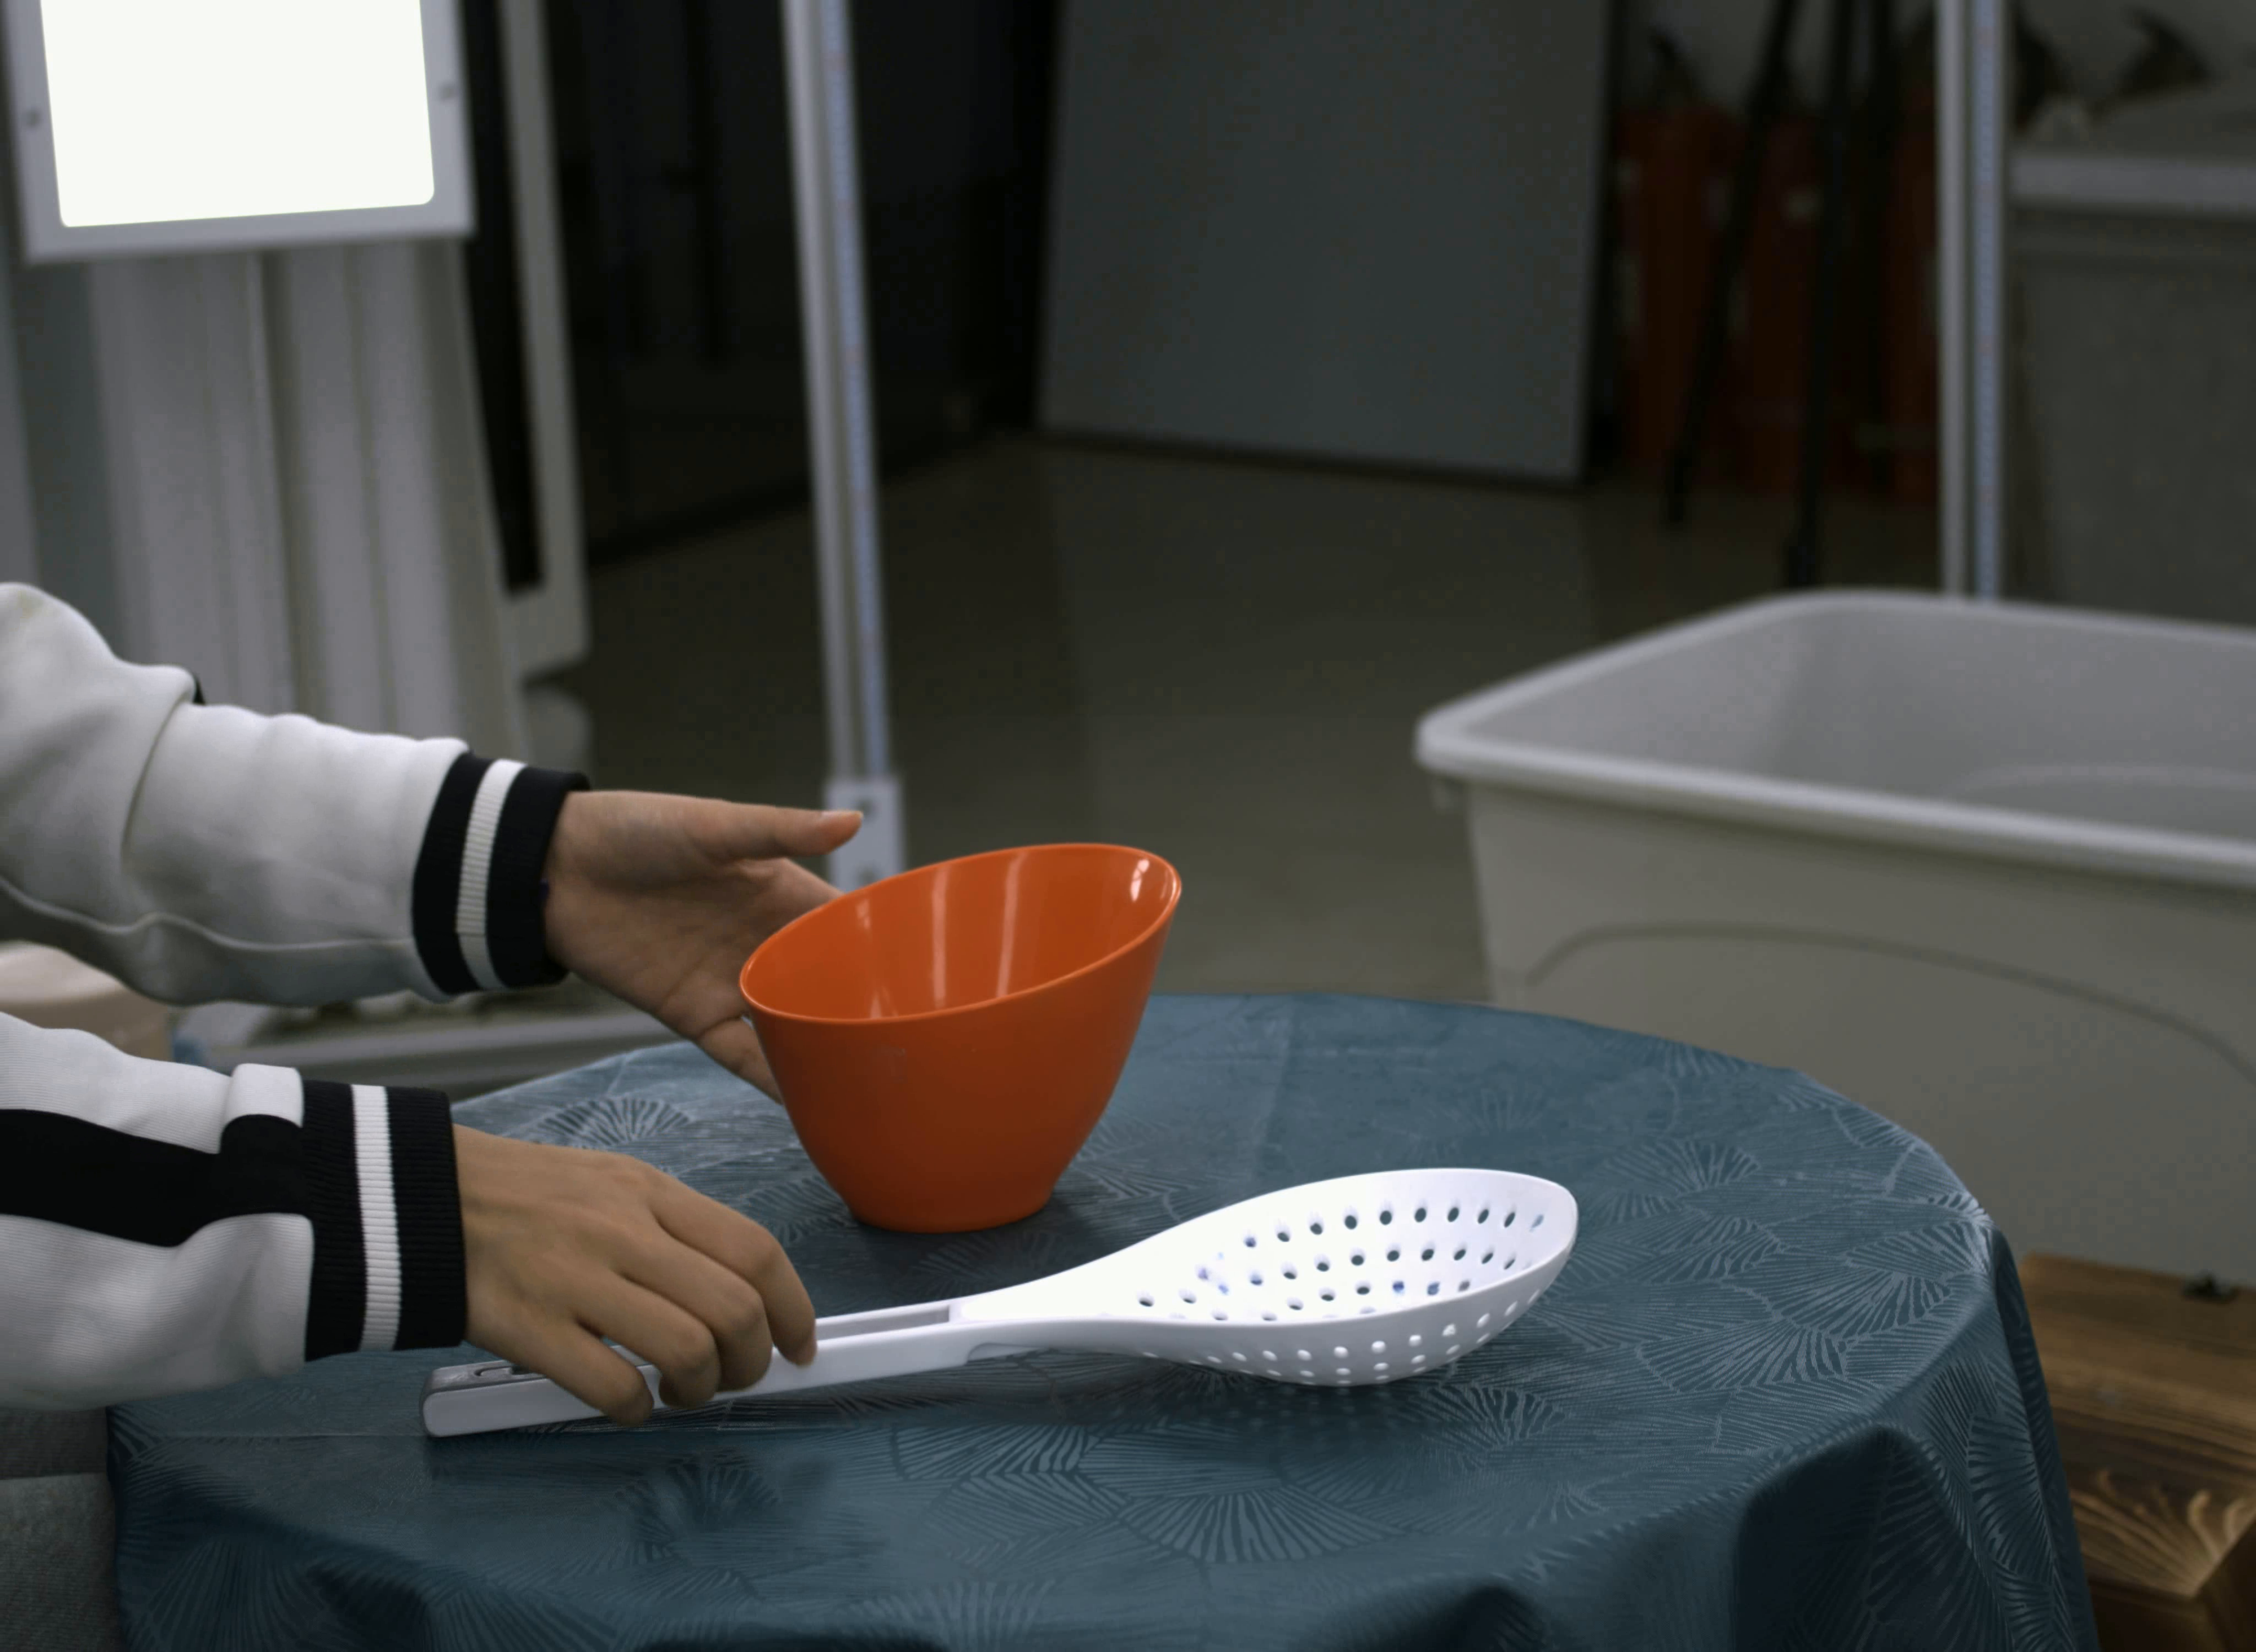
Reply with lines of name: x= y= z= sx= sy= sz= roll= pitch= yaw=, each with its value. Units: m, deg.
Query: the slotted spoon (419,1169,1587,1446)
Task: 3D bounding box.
slotted spoon: x=-0.036 y=0.146 z=1.585 sx=0.345 sy=0.046 sz=0.136 roll=-4 pitch=12 yaw=2

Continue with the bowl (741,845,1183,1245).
bowl: x=-0.051 y=0.075 z=1.763 sx=0.146 sy=0.106 sz=0.148 roll=-4 pitch=16 yaw=0
